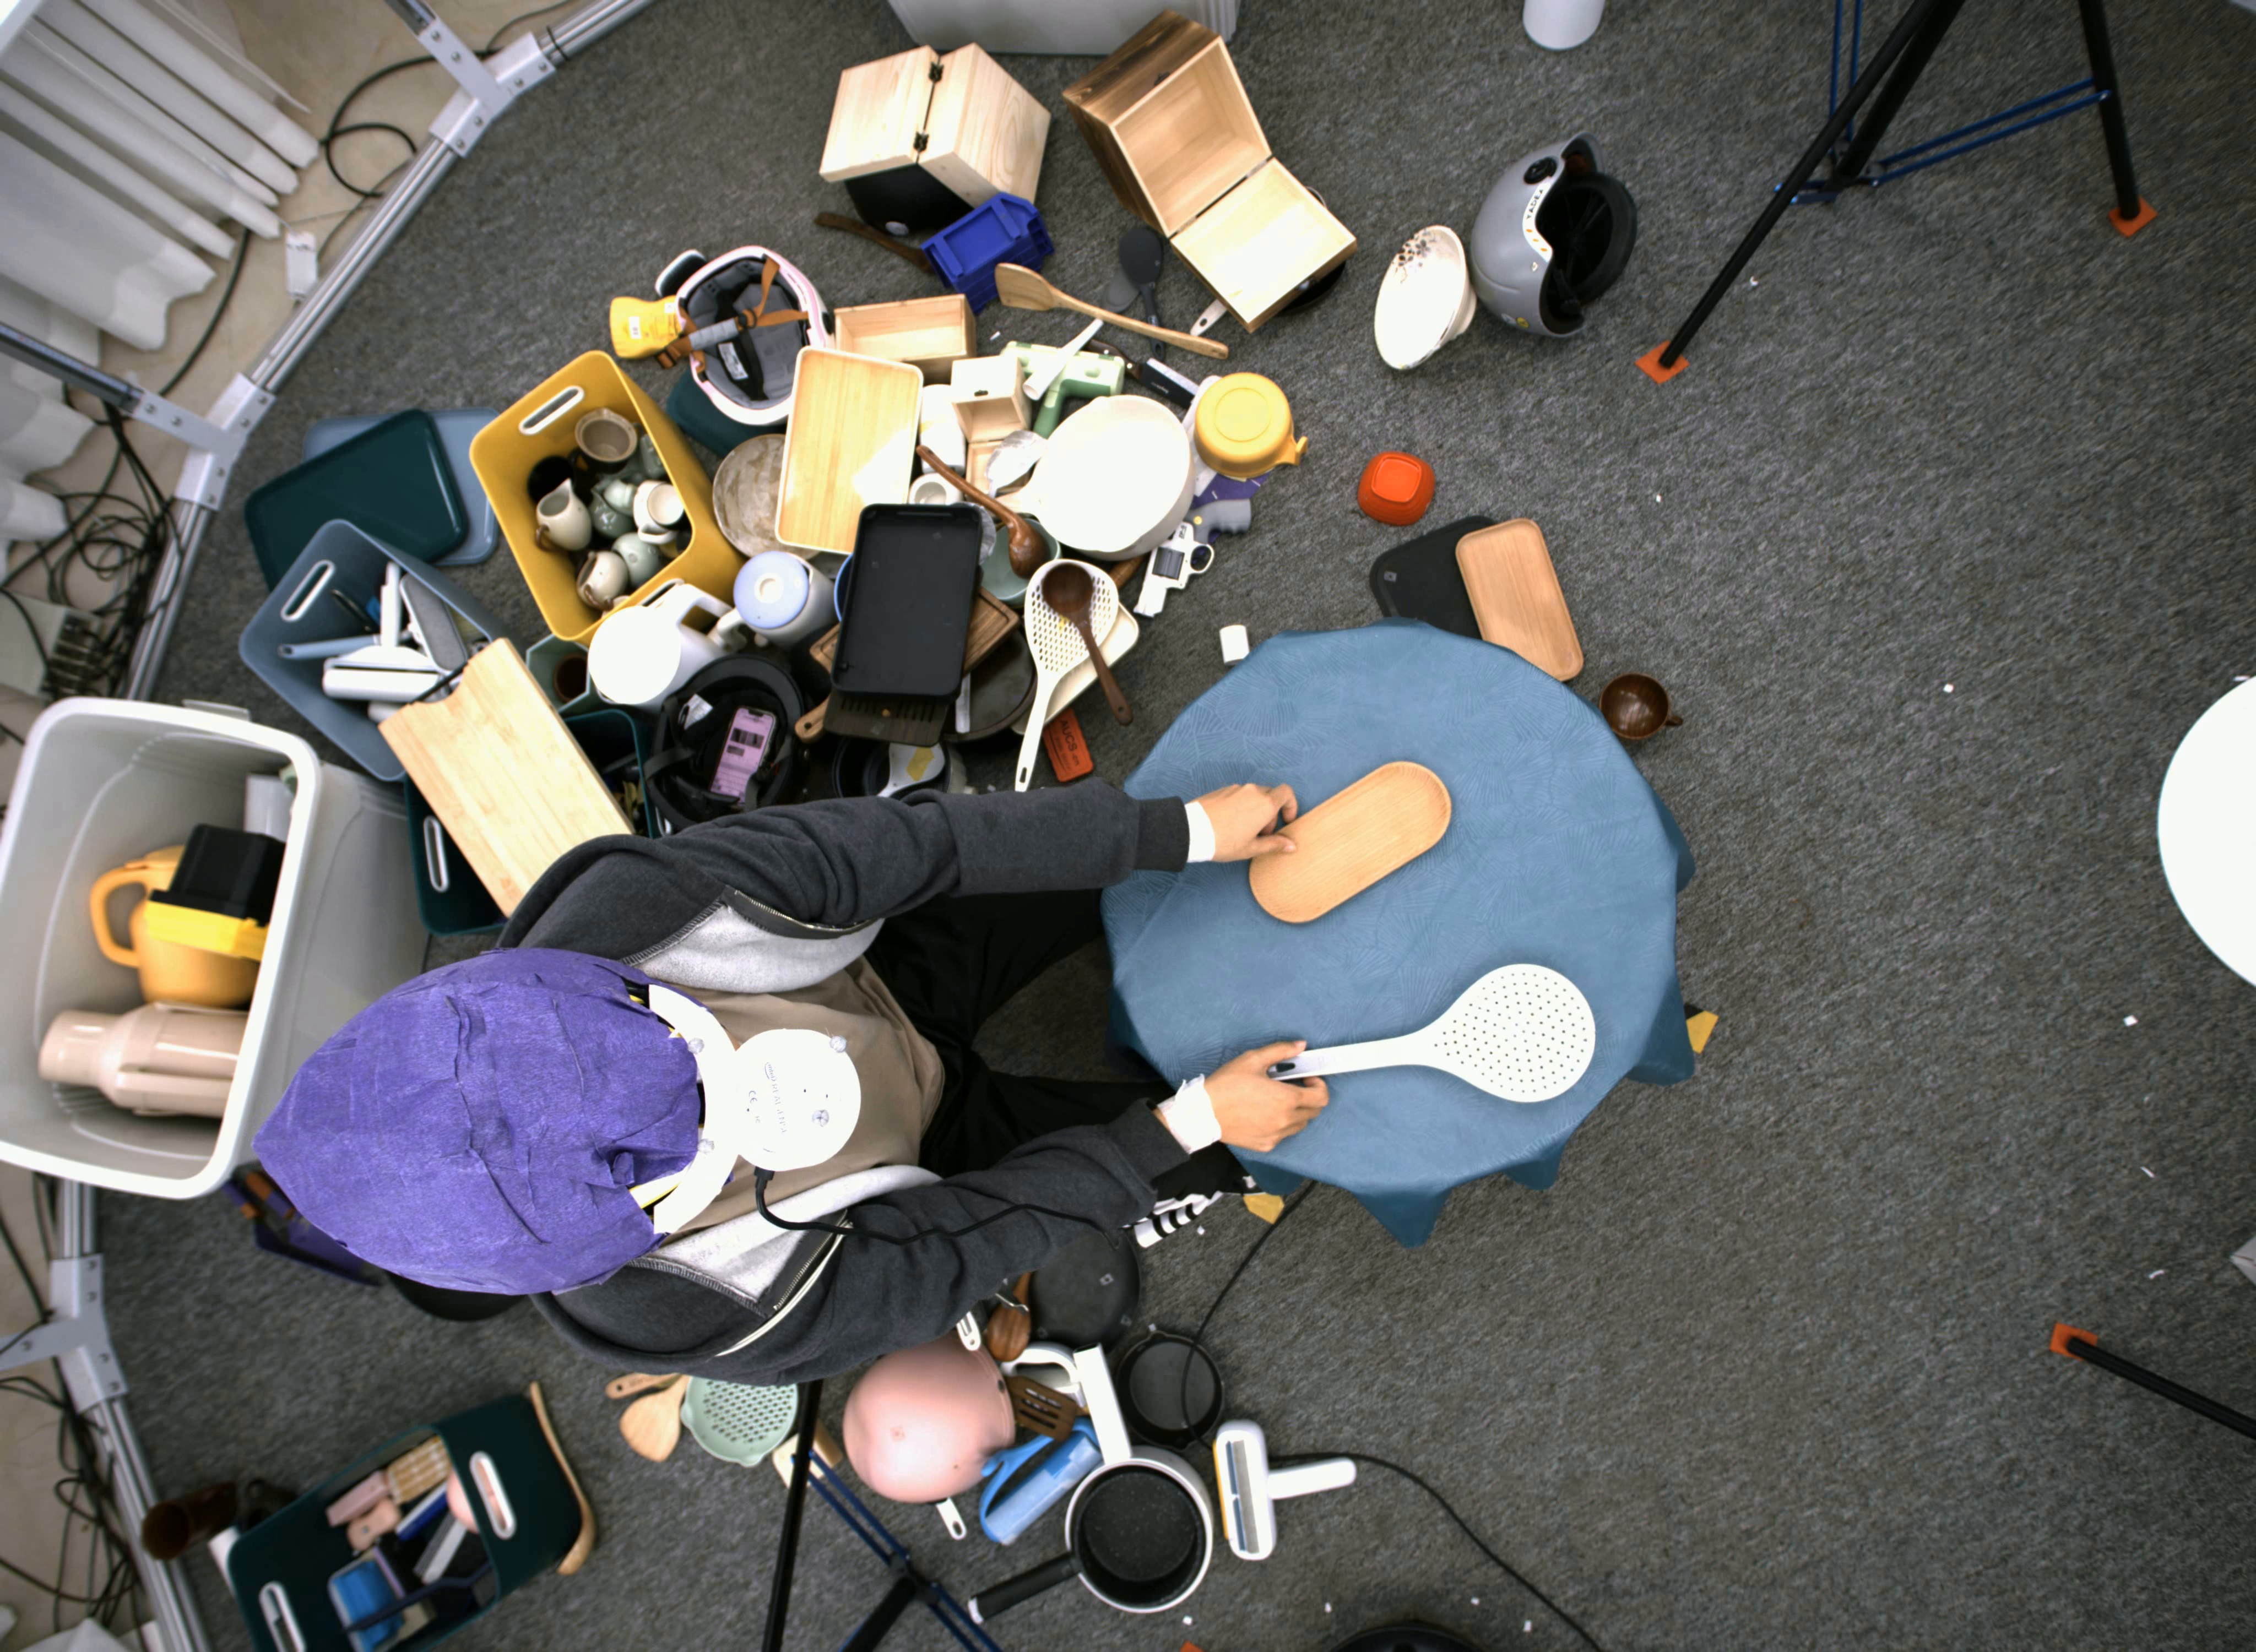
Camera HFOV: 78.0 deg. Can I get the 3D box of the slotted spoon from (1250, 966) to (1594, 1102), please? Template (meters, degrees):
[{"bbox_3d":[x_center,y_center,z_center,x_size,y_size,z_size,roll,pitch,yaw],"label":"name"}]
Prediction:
[{"bbox_3d":[0.298,0.228,1.422,0.351,0.046,0.135,-10,82,11],"label":"slotted spoon"}]

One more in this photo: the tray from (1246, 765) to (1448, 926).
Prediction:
[{"bbox_3d":[0.231,0.020,1.461,0.232,0.020,0.101,-32,81,8],"label":"tray"}]
